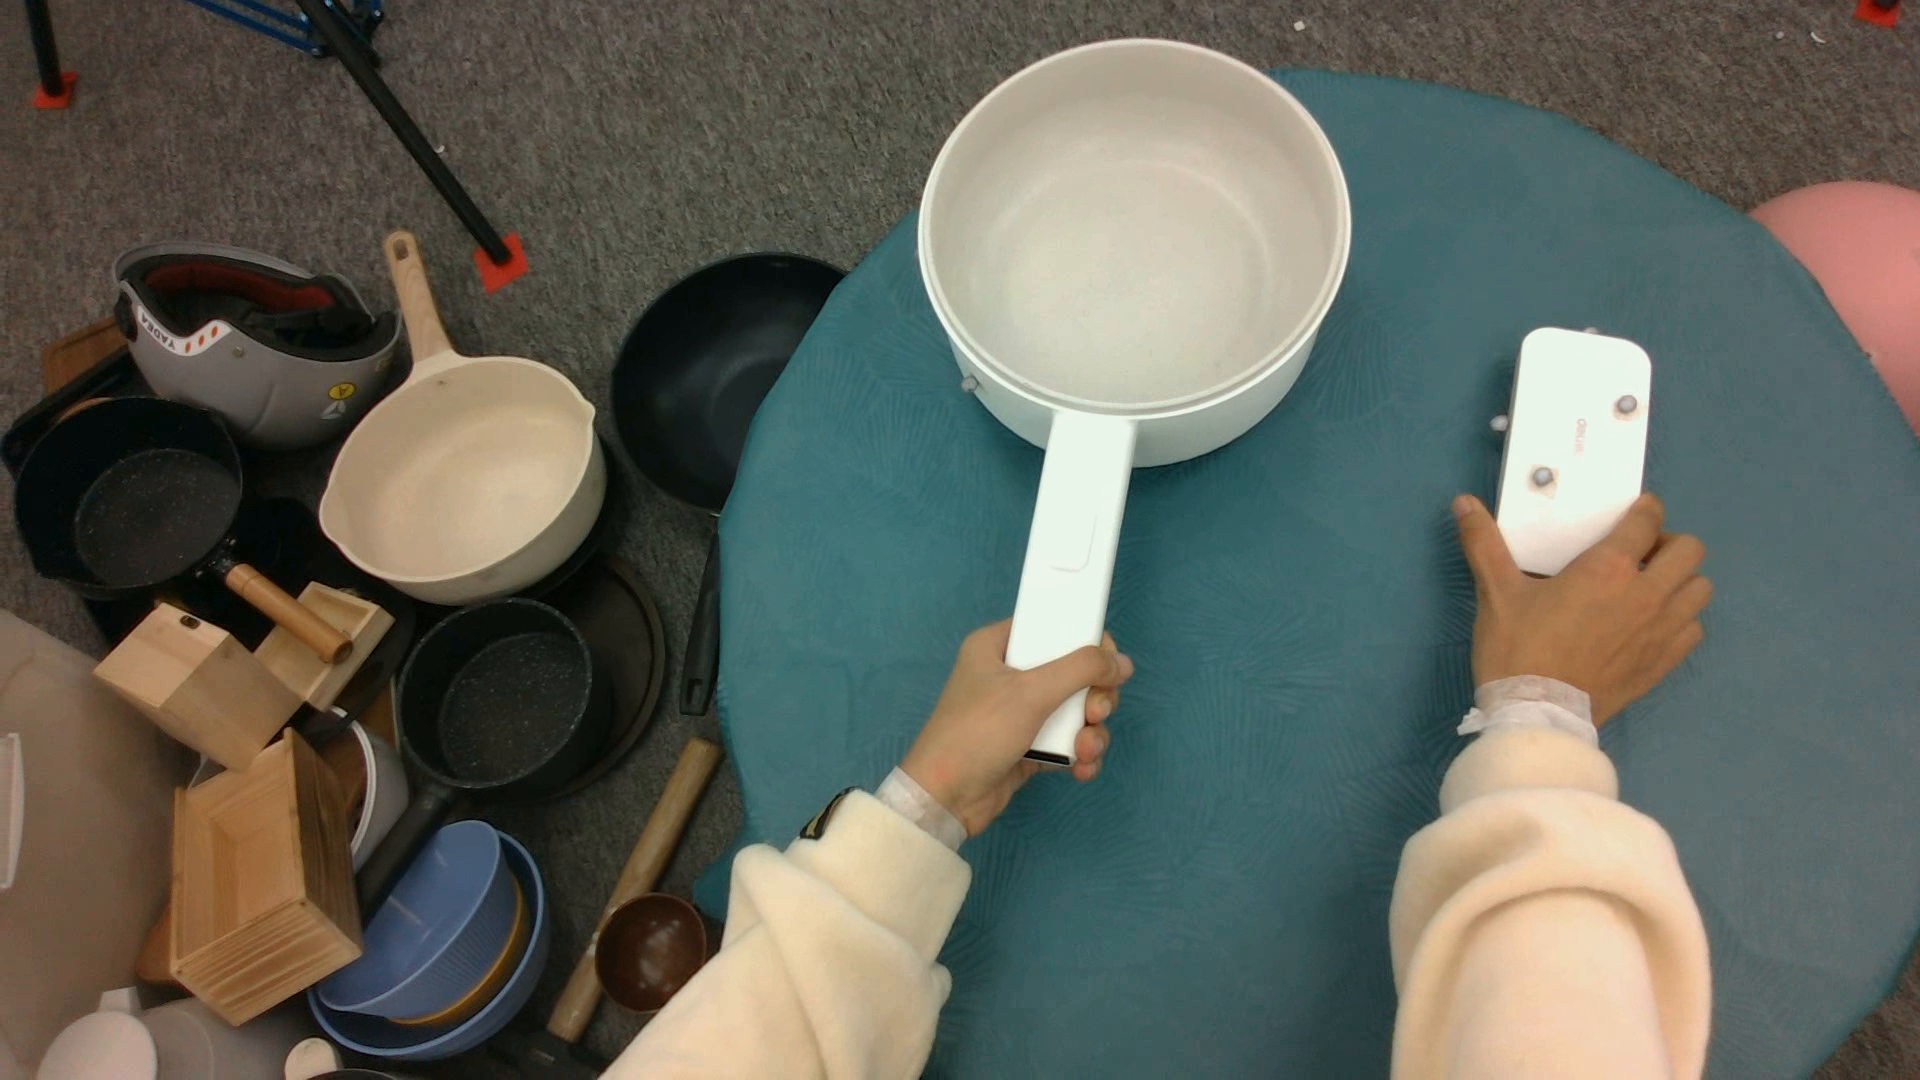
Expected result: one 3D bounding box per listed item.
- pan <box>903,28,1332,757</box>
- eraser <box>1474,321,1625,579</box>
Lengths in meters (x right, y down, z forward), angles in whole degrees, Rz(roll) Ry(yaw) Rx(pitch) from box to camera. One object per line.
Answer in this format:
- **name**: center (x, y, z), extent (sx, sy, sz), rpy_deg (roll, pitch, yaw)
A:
- **pan**: center (0.064, -0.070, 0.671), extent (0.201, 0.102, 0.355), rpy_deg (8, 75, 10)
- **eraser**: center (0.287, -0.046, 0.675), extent (0.063, 0.034, 0.132), rpy_deg (10, 70, 12)
